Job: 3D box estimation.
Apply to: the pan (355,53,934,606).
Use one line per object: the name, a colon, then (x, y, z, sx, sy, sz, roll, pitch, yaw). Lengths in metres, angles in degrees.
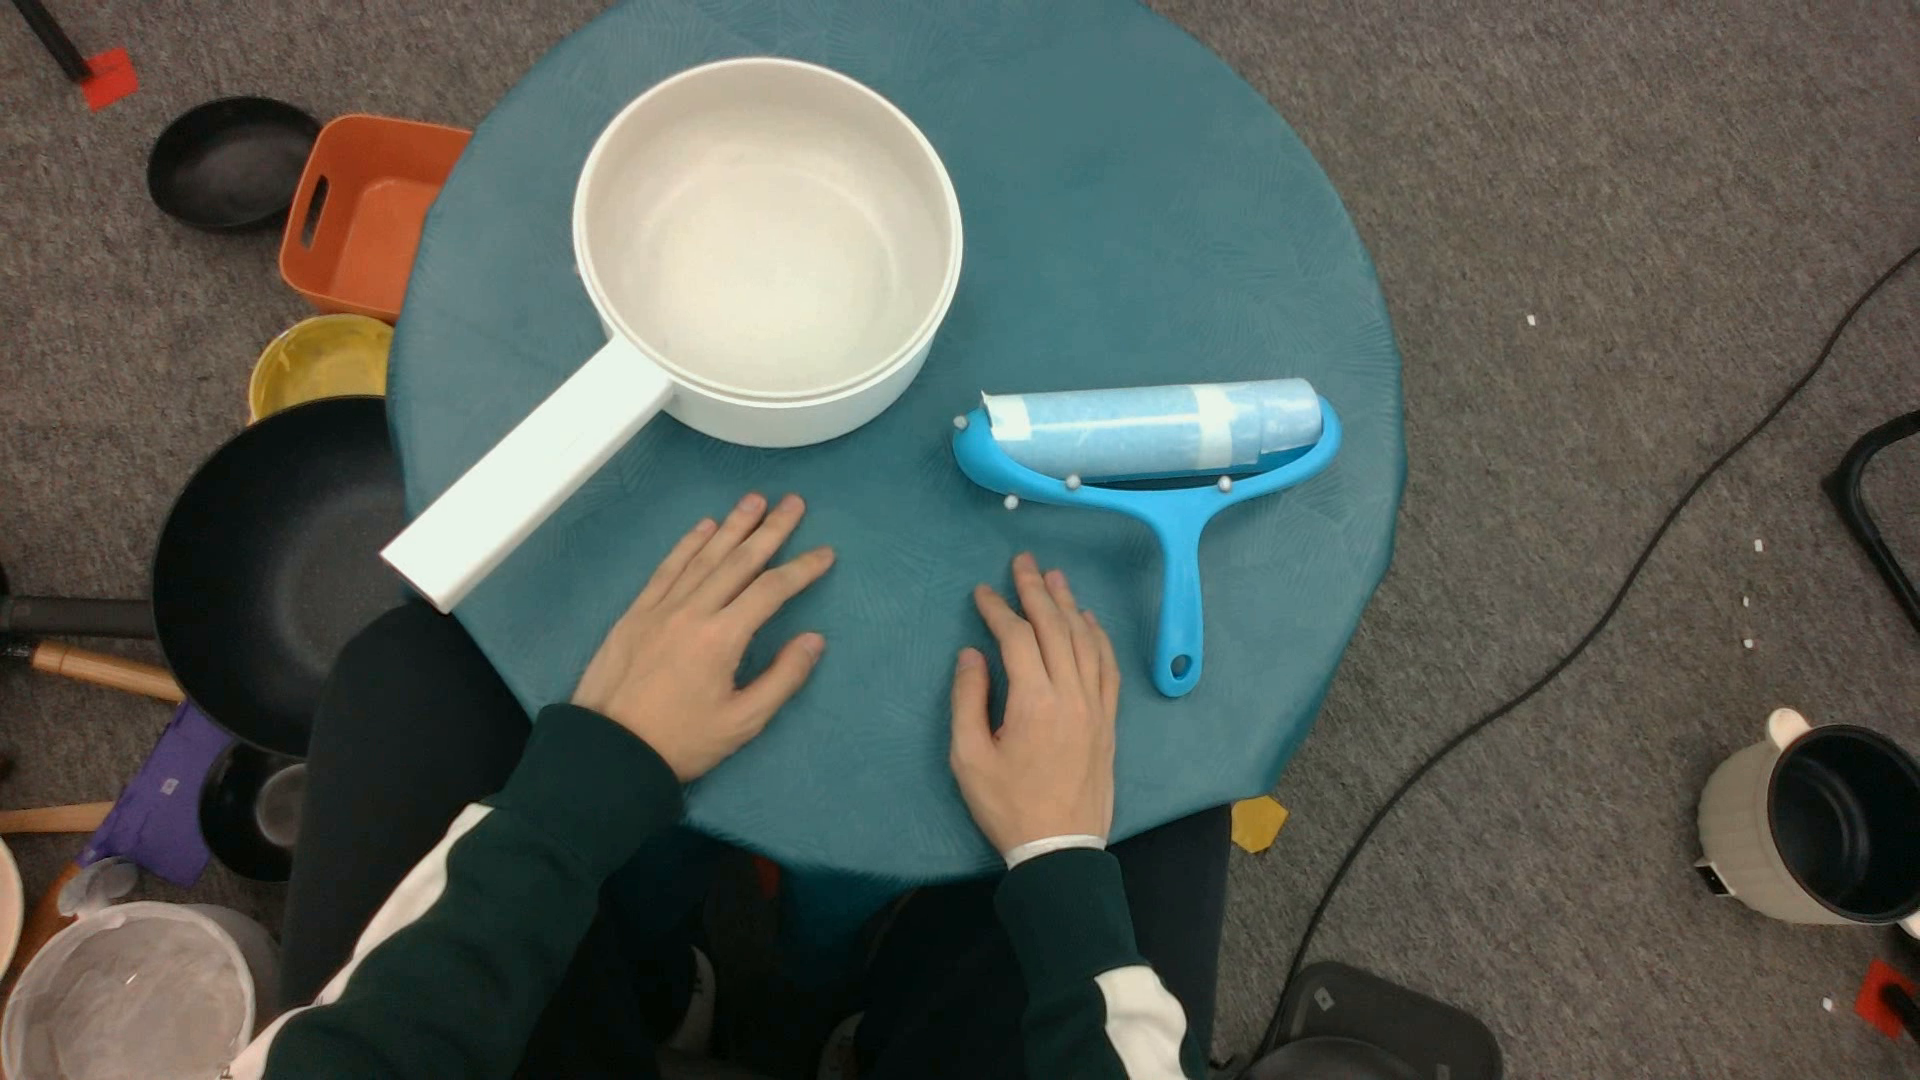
pan: (-0.167, -0.100, 0.740, 0.201, 0.102, 0.356, 39, 72, 3)

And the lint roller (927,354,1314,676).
lint roller: (0.105, -0.017, 0.782, 0.229, 0.067, 0.180, -8, 74, -13)
